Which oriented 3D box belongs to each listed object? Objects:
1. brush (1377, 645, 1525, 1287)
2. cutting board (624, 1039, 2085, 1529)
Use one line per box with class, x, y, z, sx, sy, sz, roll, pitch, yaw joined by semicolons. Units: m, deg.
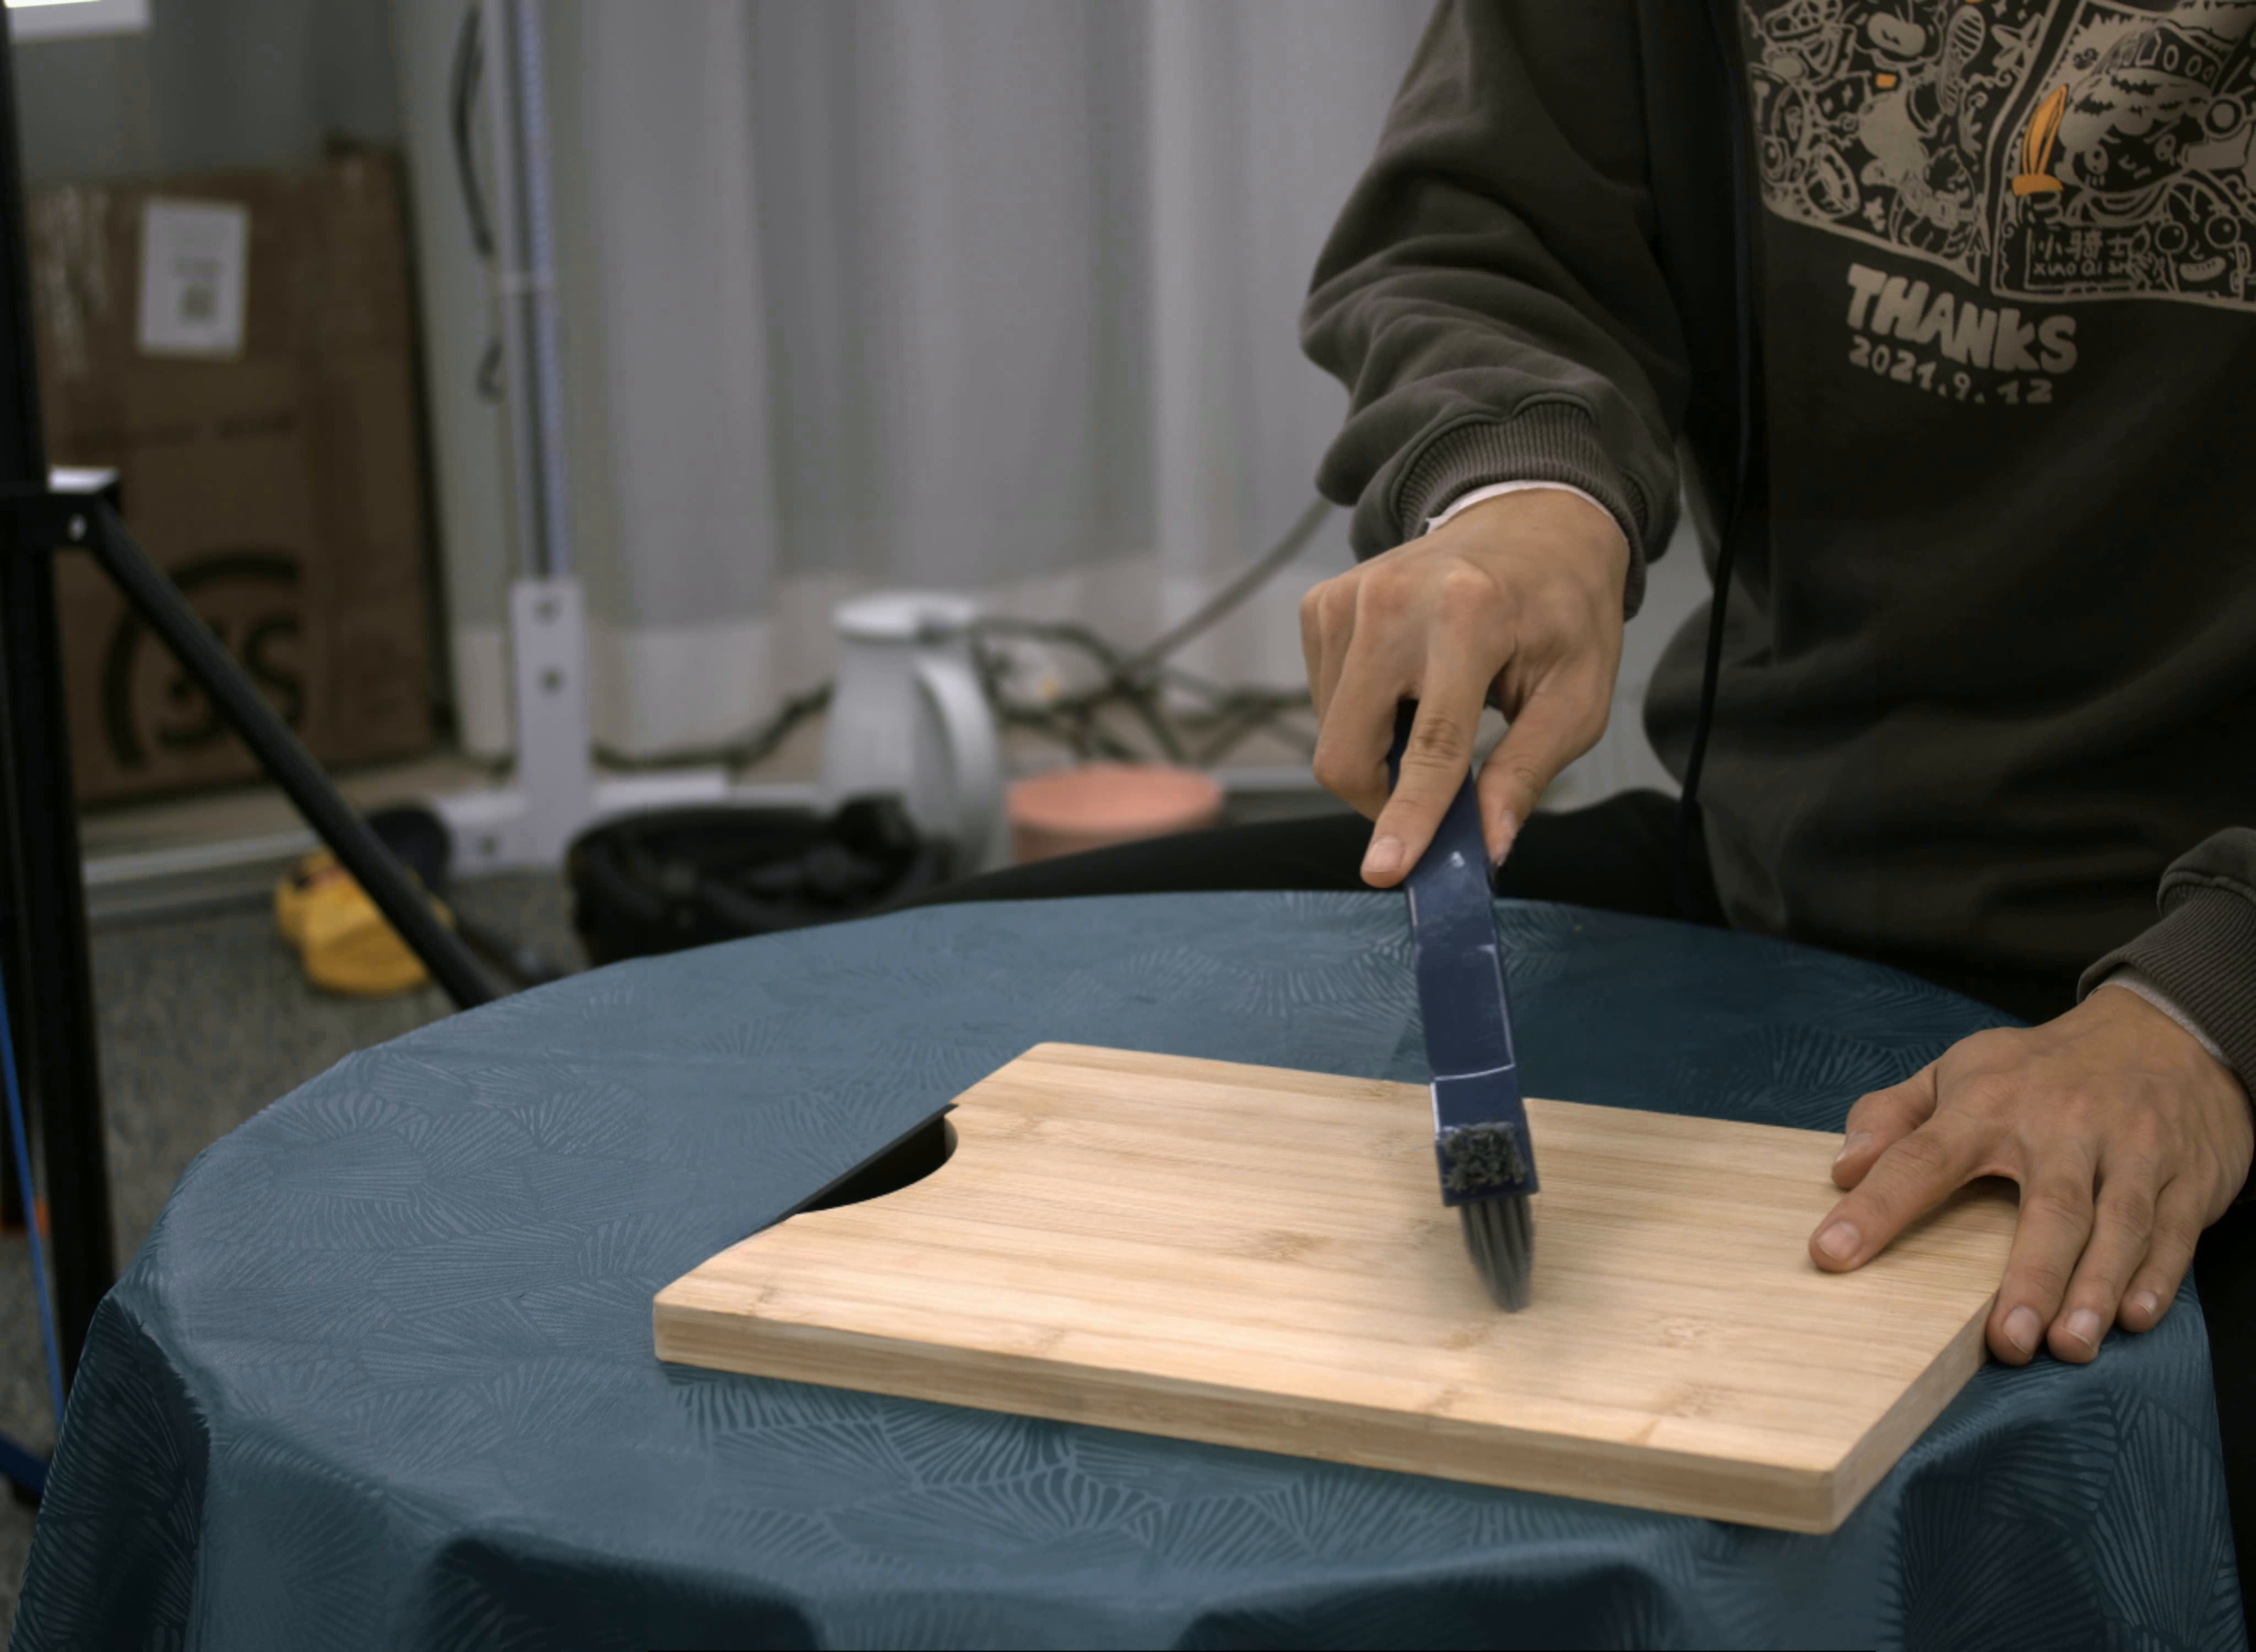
brush;0.092;0.020;1.495;0.033;0.094;0.276;-13;41;7
cutting board;0.067;0.121;1.475;0.354;0.023;0.247;5;17;26
